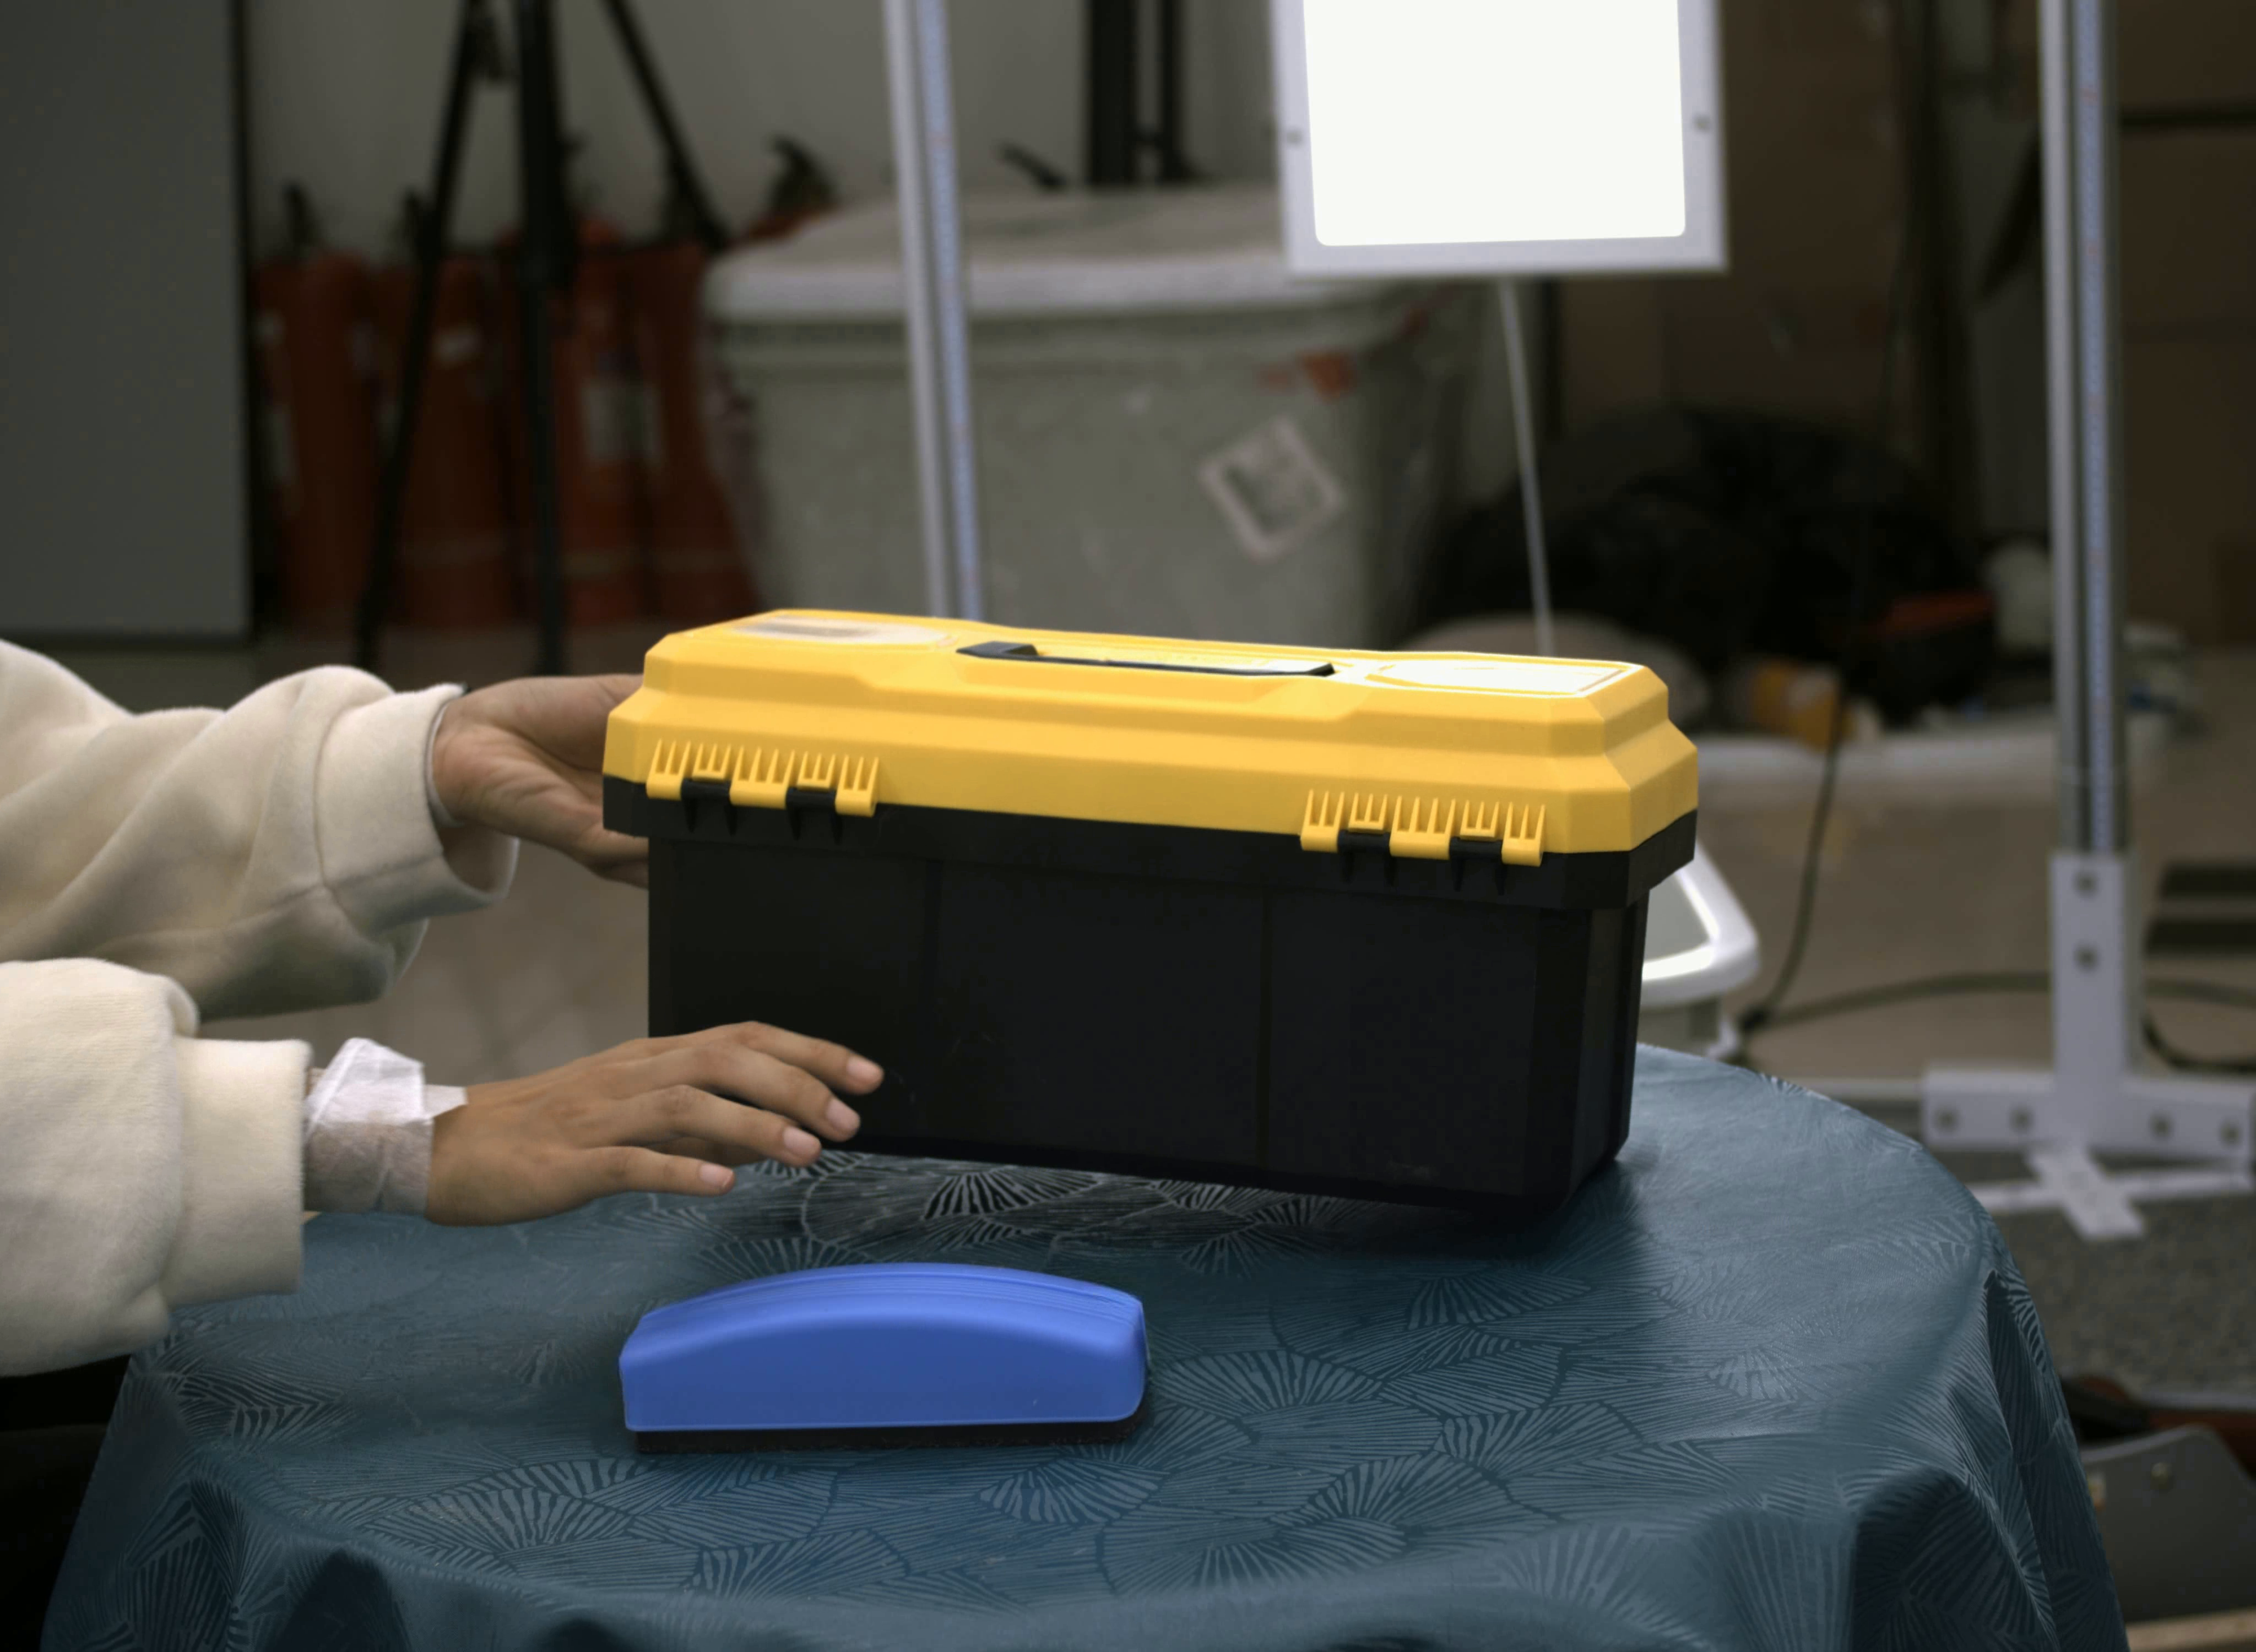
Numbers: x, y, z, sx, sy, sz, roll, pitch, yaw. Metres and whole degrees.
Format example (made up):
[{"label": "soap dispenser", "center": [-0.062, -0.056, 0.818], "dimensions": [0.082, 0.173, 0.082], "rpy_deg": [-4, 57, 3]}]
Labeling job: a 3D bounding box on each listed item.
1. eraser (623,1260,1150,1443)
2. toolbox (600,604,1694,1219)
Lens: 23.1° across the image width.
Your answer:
[{"label": "eraser", "center": [-0.074, 0.160, 1.688], "dimensions": [0.163, 0.048, 0.053], "rpy_deg": [-1, 13, 11]}, {"label": "toolbox", "center": [0.007, 0.025, 1.868], "dimensions": [0.355, 0.173, 0.178], "rpy_deg": [5, 8, 17]}]
